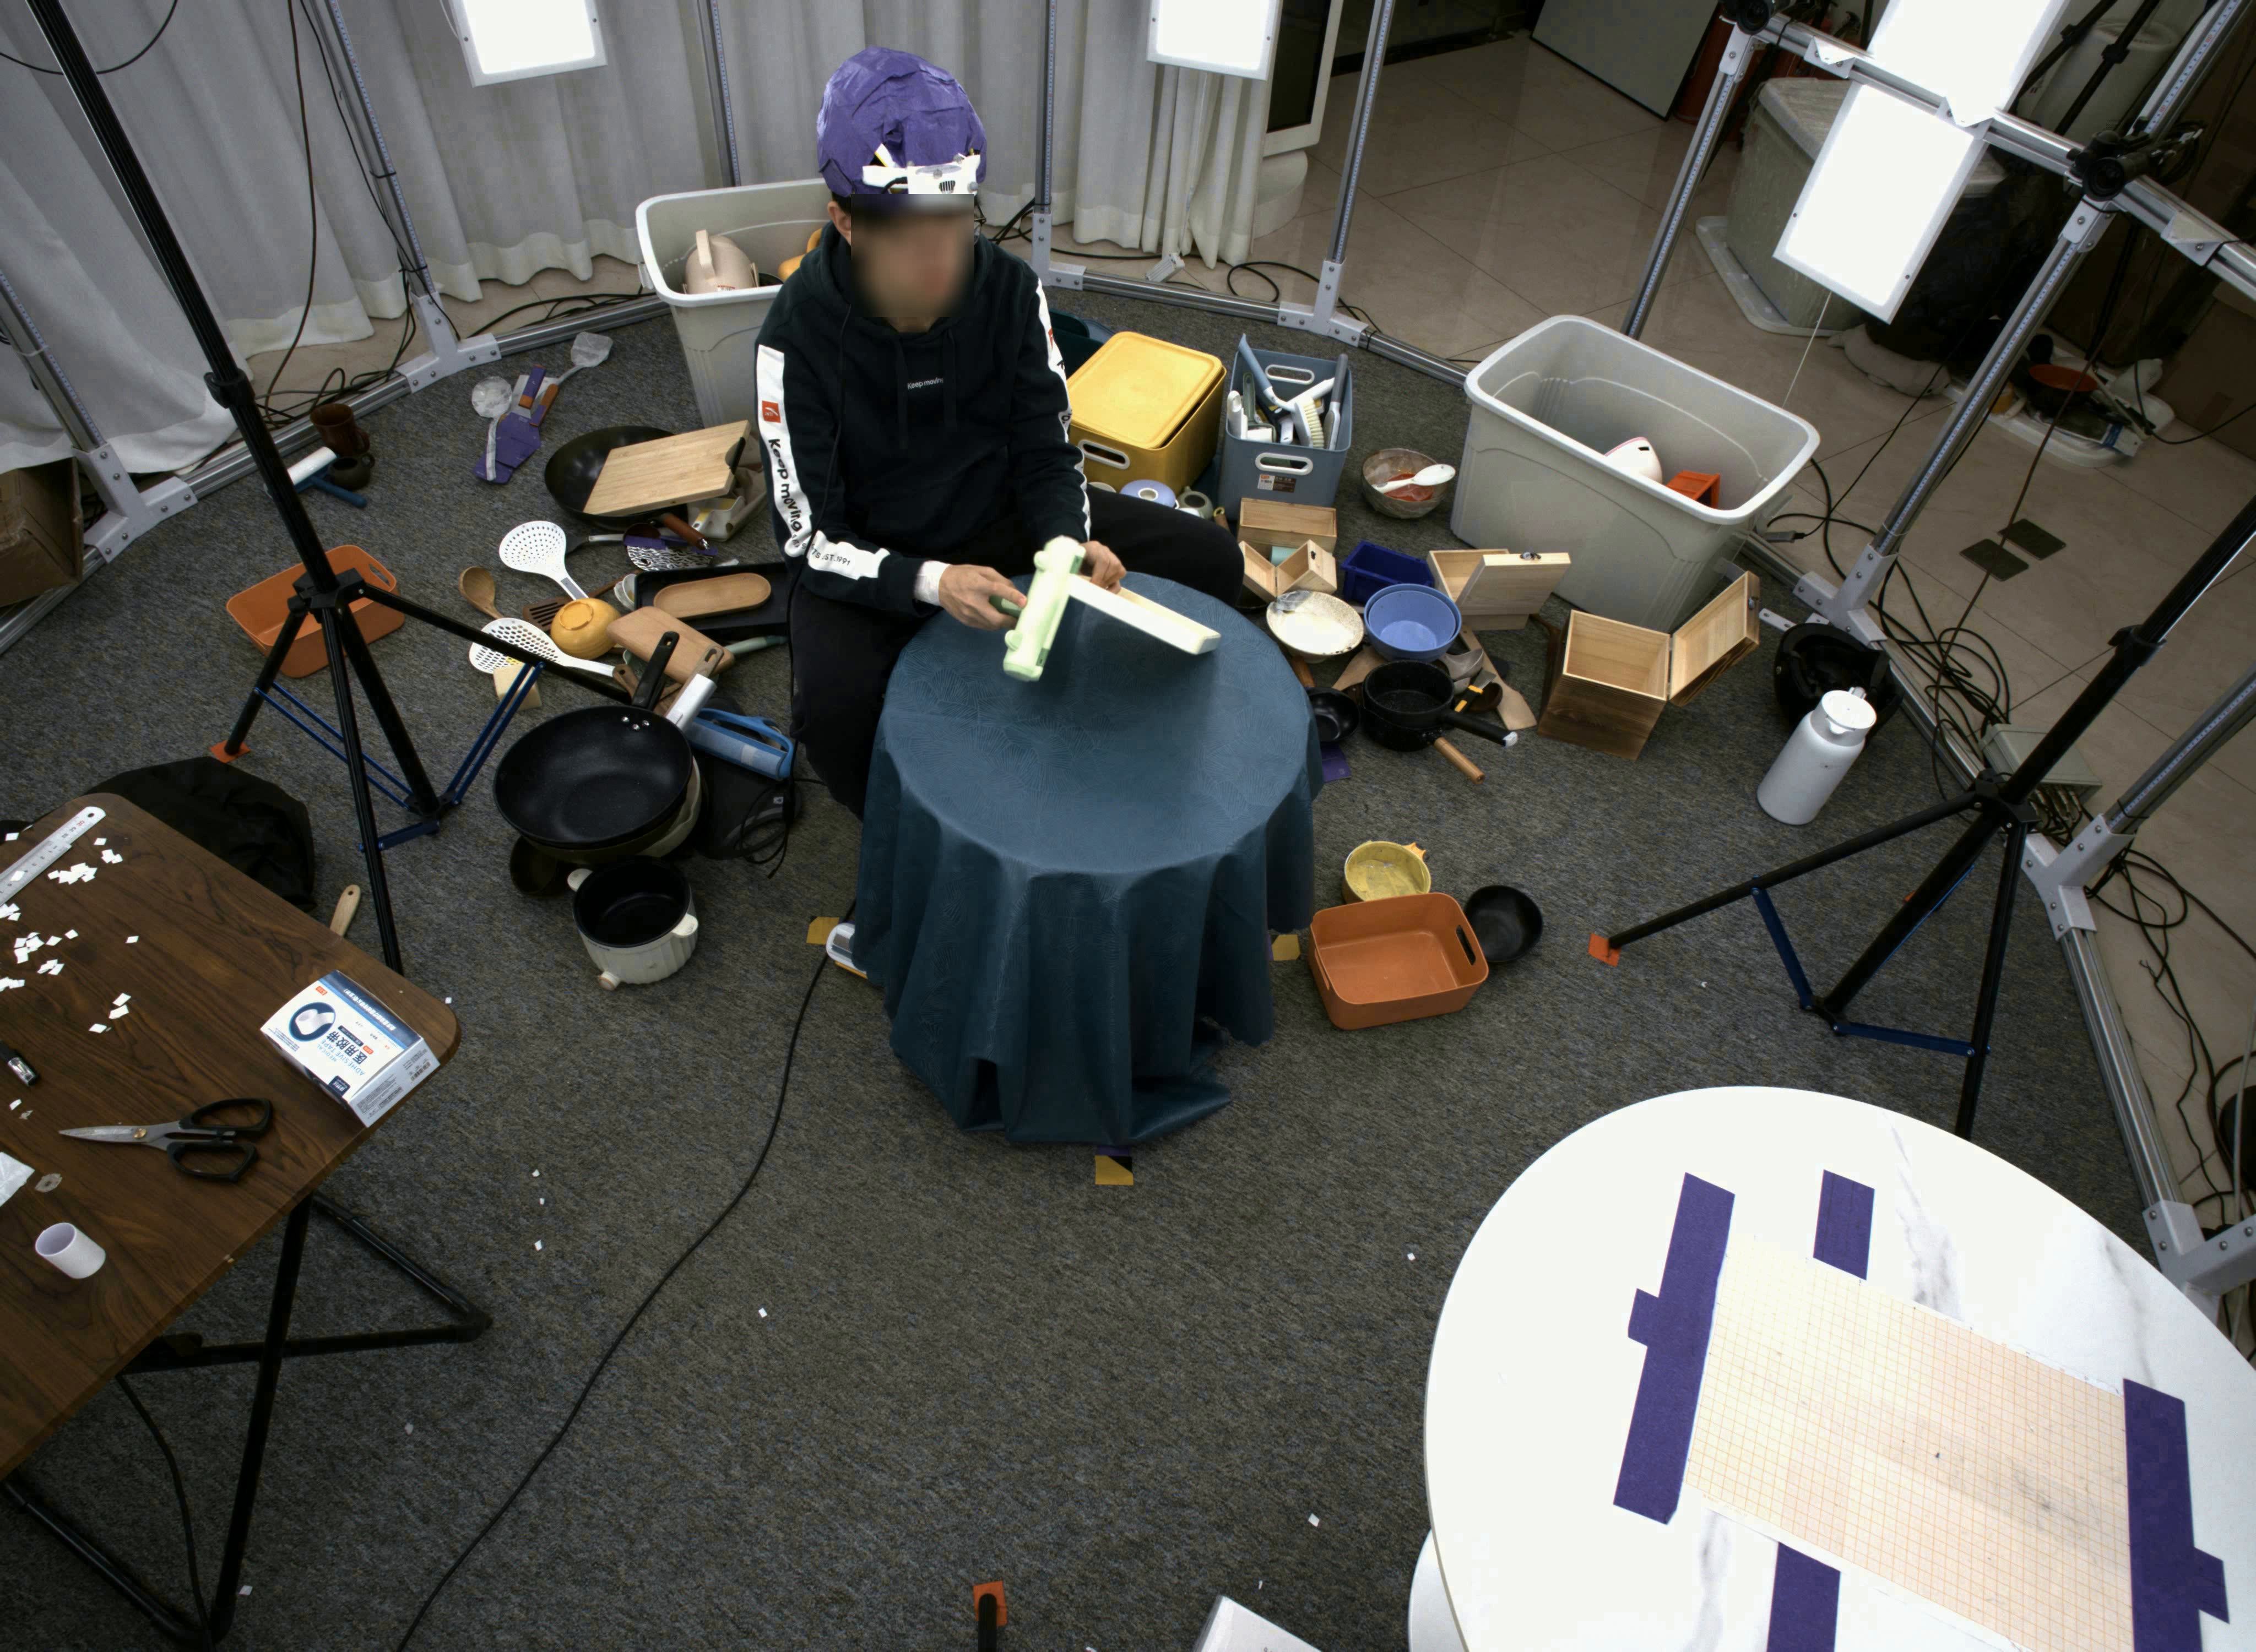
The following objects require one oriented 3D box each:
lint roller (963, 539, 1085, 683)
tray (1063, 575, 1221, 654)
[{"bbox_3d":[-0.165,-0.307,1.765,0.185,0.081,0.200,16,81,27],"label":"lint roller"},{"bbox_3d":[0.026,-0.290,1.770,0.192,0.027,0.302,25,12,5],"label":"tray"}]
